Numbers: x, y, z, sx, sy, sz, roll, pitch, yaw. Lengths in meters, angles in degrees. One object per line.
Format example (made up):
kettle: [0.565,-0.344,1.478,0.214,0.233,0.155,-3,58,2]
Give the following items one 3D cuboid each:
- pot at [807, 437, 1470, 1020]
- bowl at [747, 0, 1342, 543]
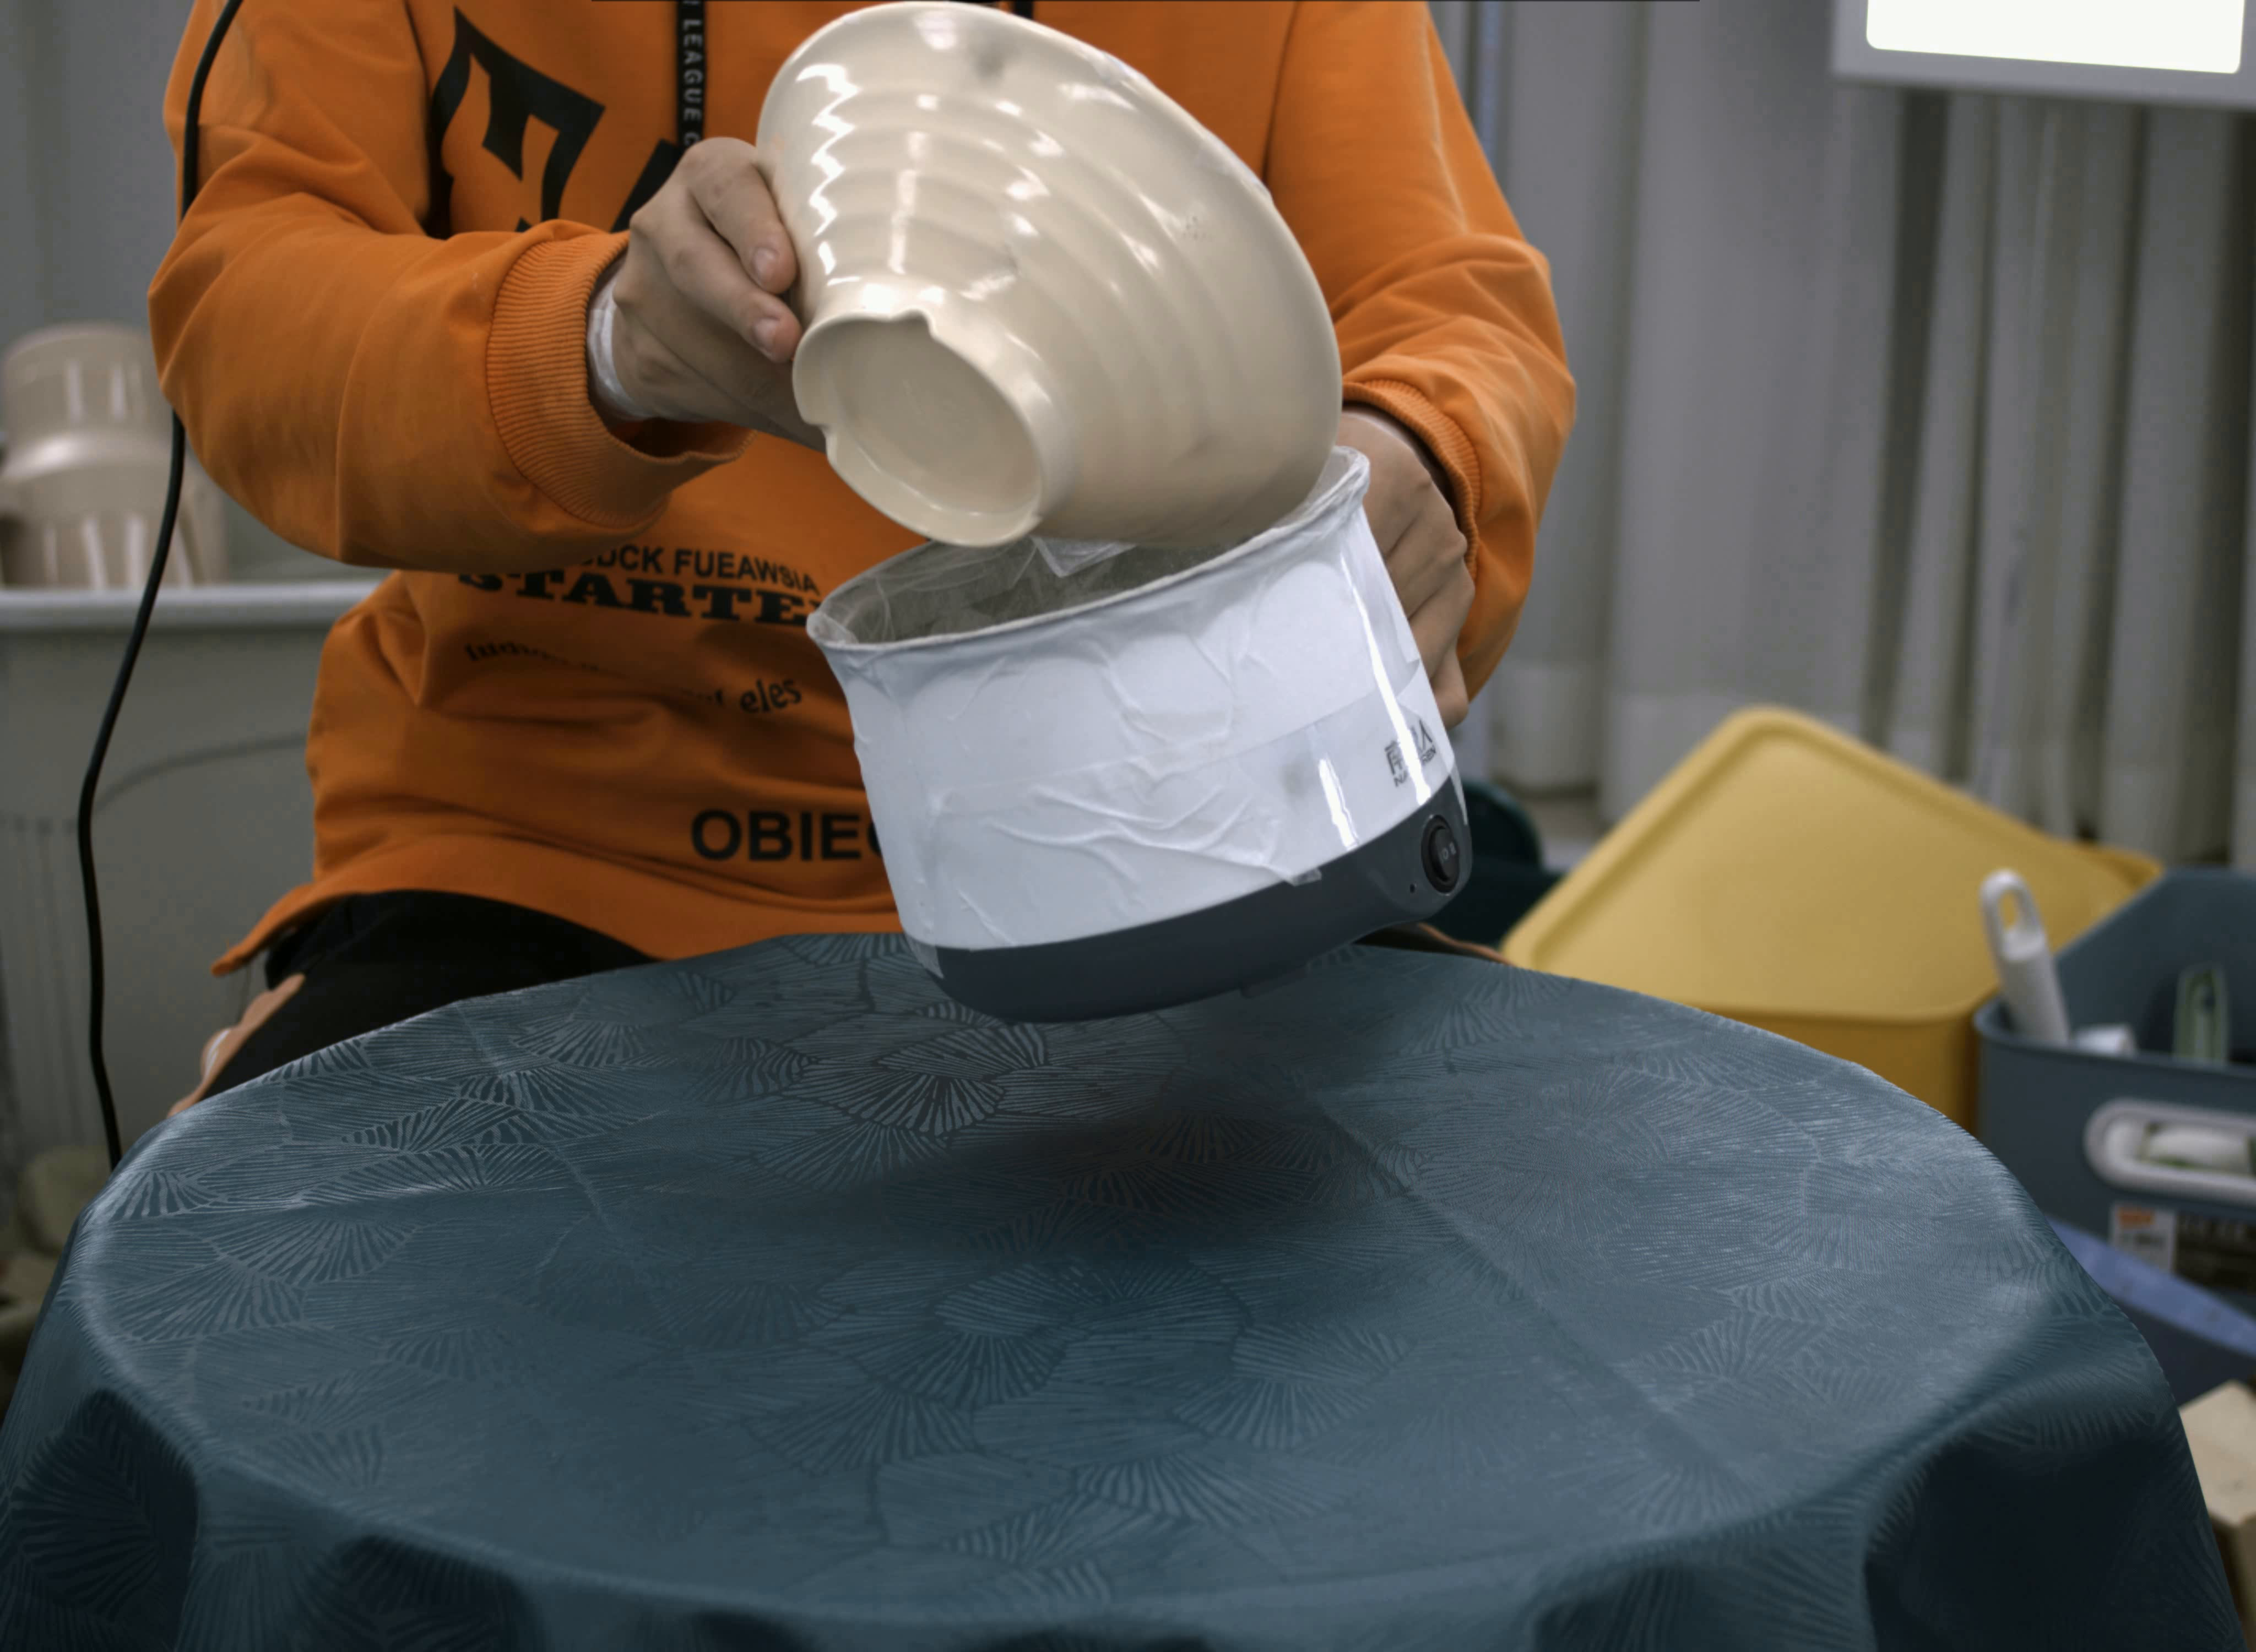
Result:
pot: [0.017,-0.038,1.618,0.177,0.138,0.234,-7,17,28]
bowl: [-0.043,-0.142,1.551,0.201,0.207,0.078,10,47,30]
